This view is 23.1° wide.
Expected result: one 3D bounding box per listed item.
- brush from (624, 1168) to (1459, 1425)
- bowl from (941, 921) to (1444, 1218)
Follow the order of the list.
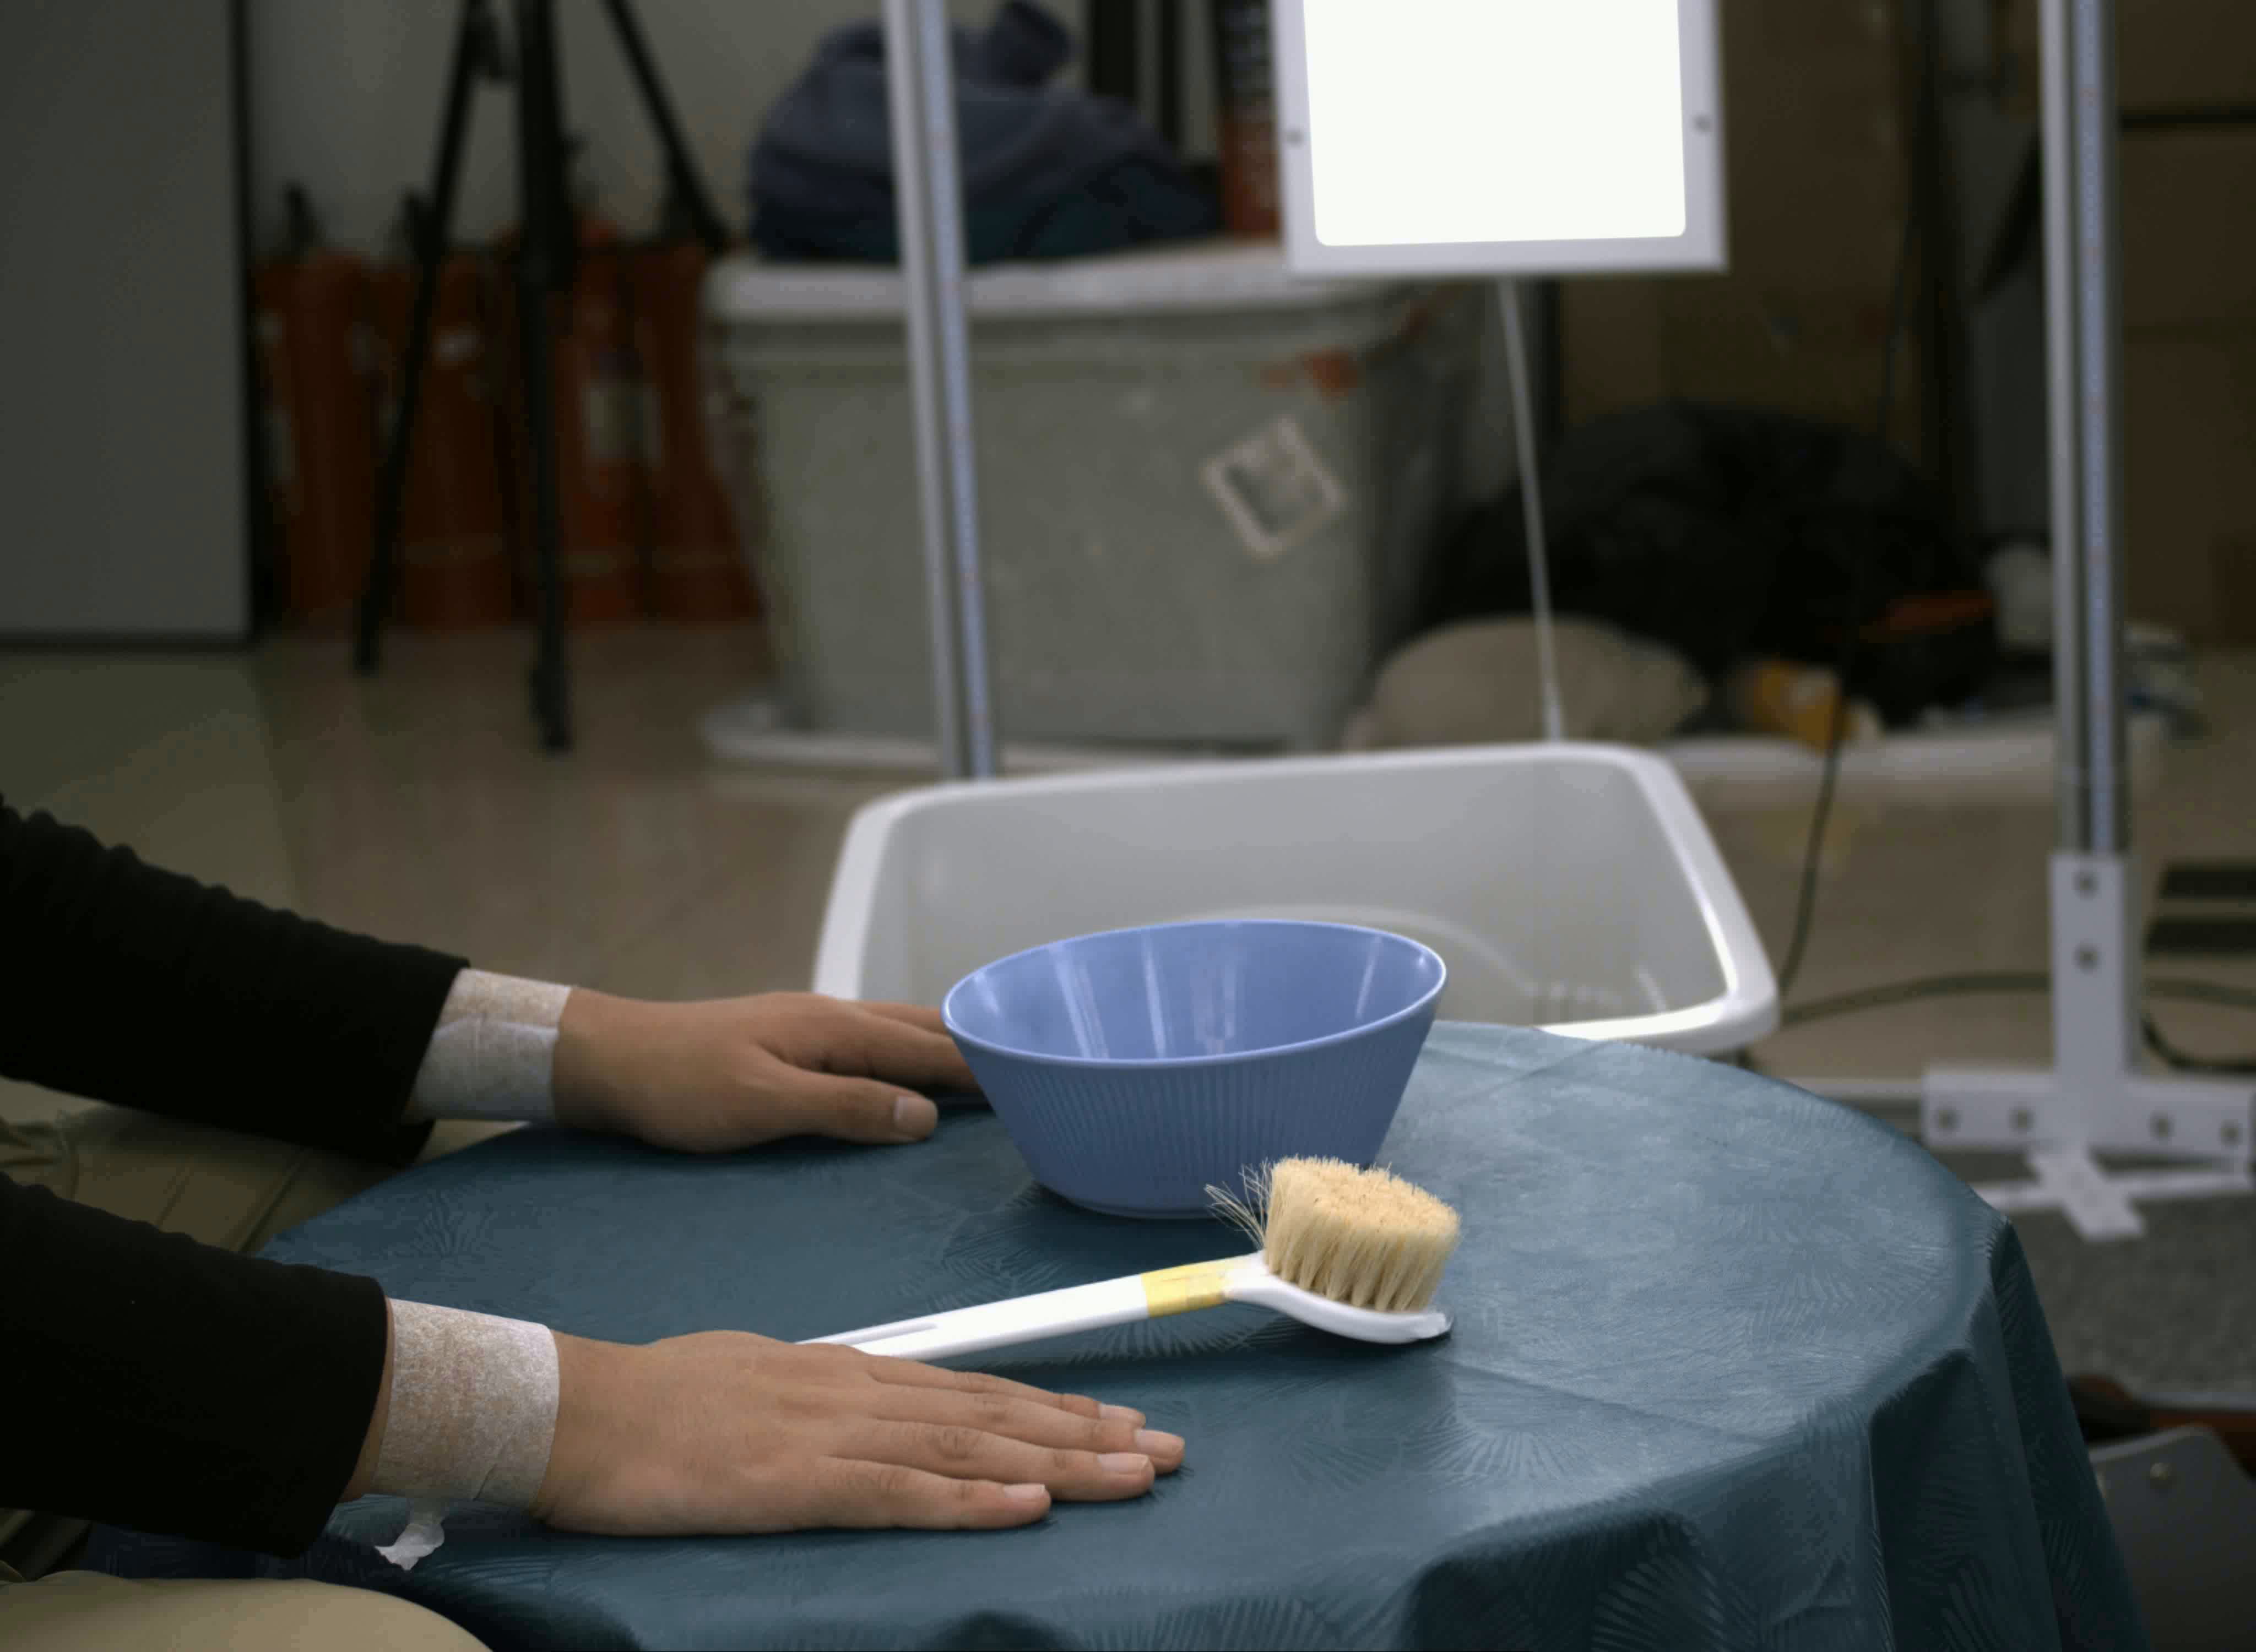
[{"bbox_3d":[-0.027,0.146,1.718,0.265,0.056,0.068,-6,9,0],"label":"brush"},{"bbox_3d":[0.025,0.086,1.902,0.175,0.070,0.176,-6,13,0],"label":"bowl"}]
